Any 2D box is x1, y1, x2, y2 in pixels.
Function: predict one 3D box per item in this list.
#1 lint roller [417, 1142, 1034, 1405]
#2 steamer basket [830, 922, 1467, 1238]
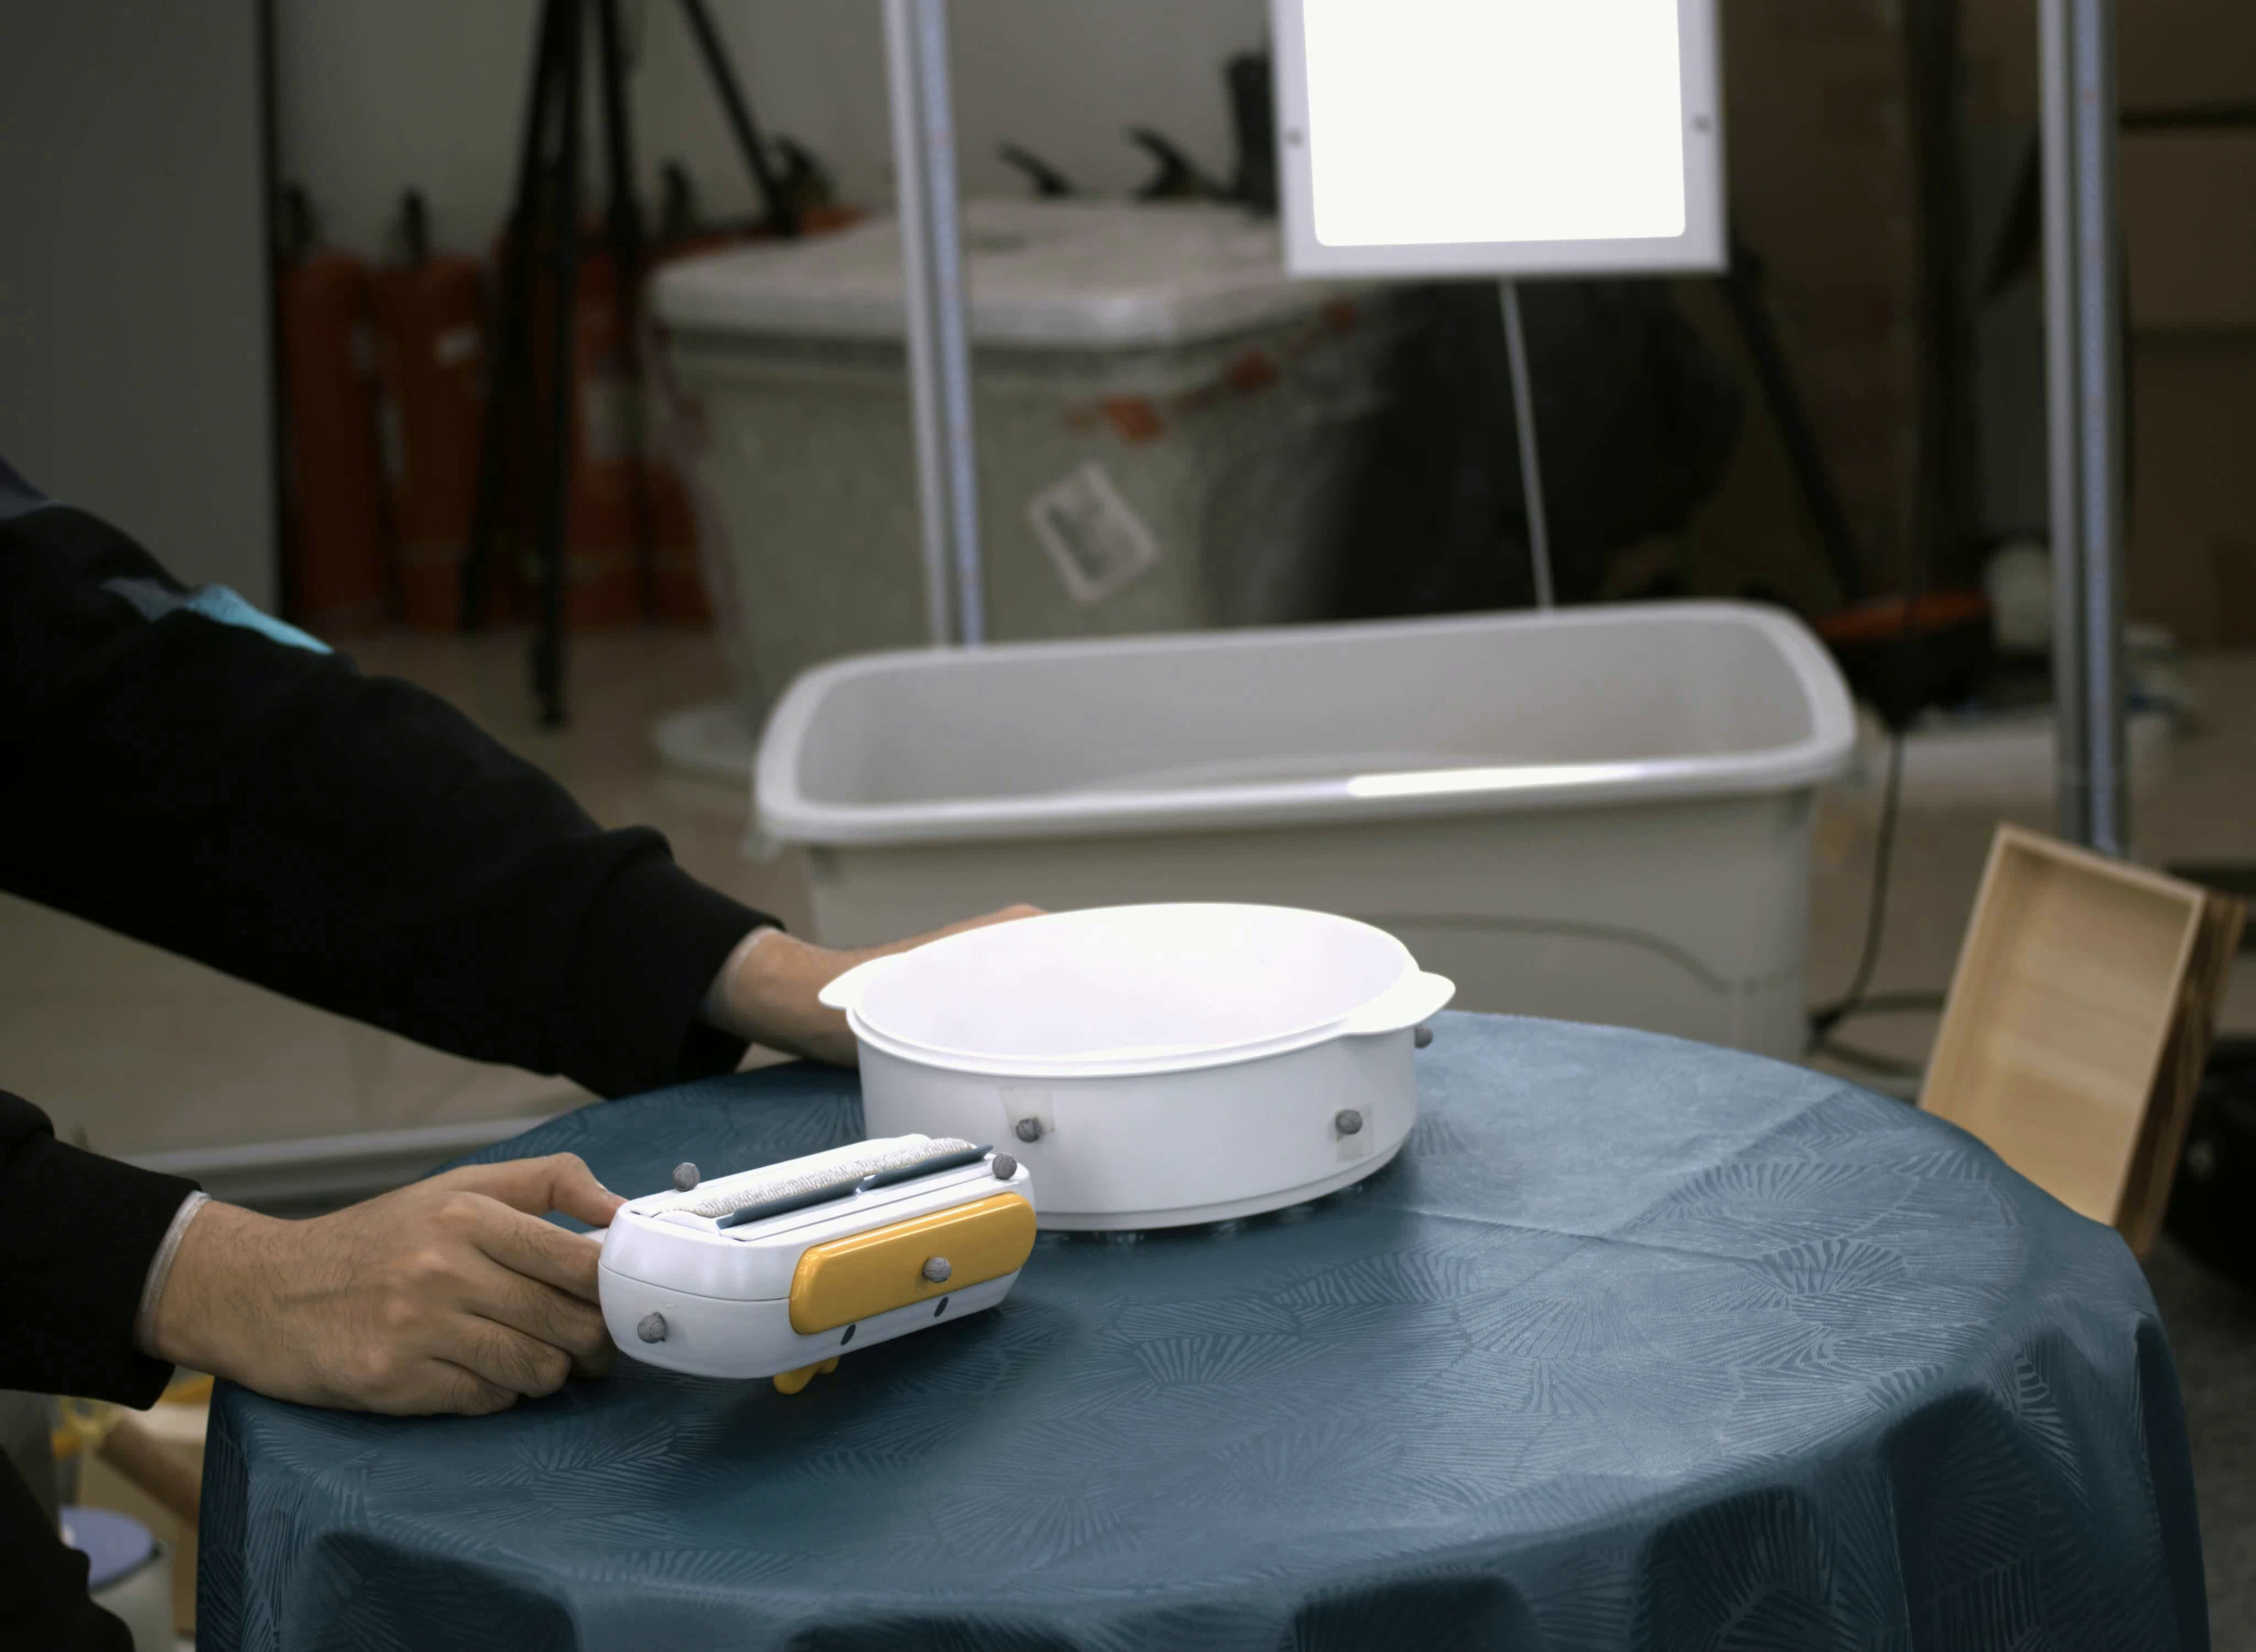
[{"bbox_3d":[-0.148,0.140,1.755,0.196,0.074,0.188,2,10,33],"label":"lint roller"},{"bbox_3d":[0.009,0.088,1.919,0.234,0.069,0.198,-2,12,26],"label":"steamer basket"}]
